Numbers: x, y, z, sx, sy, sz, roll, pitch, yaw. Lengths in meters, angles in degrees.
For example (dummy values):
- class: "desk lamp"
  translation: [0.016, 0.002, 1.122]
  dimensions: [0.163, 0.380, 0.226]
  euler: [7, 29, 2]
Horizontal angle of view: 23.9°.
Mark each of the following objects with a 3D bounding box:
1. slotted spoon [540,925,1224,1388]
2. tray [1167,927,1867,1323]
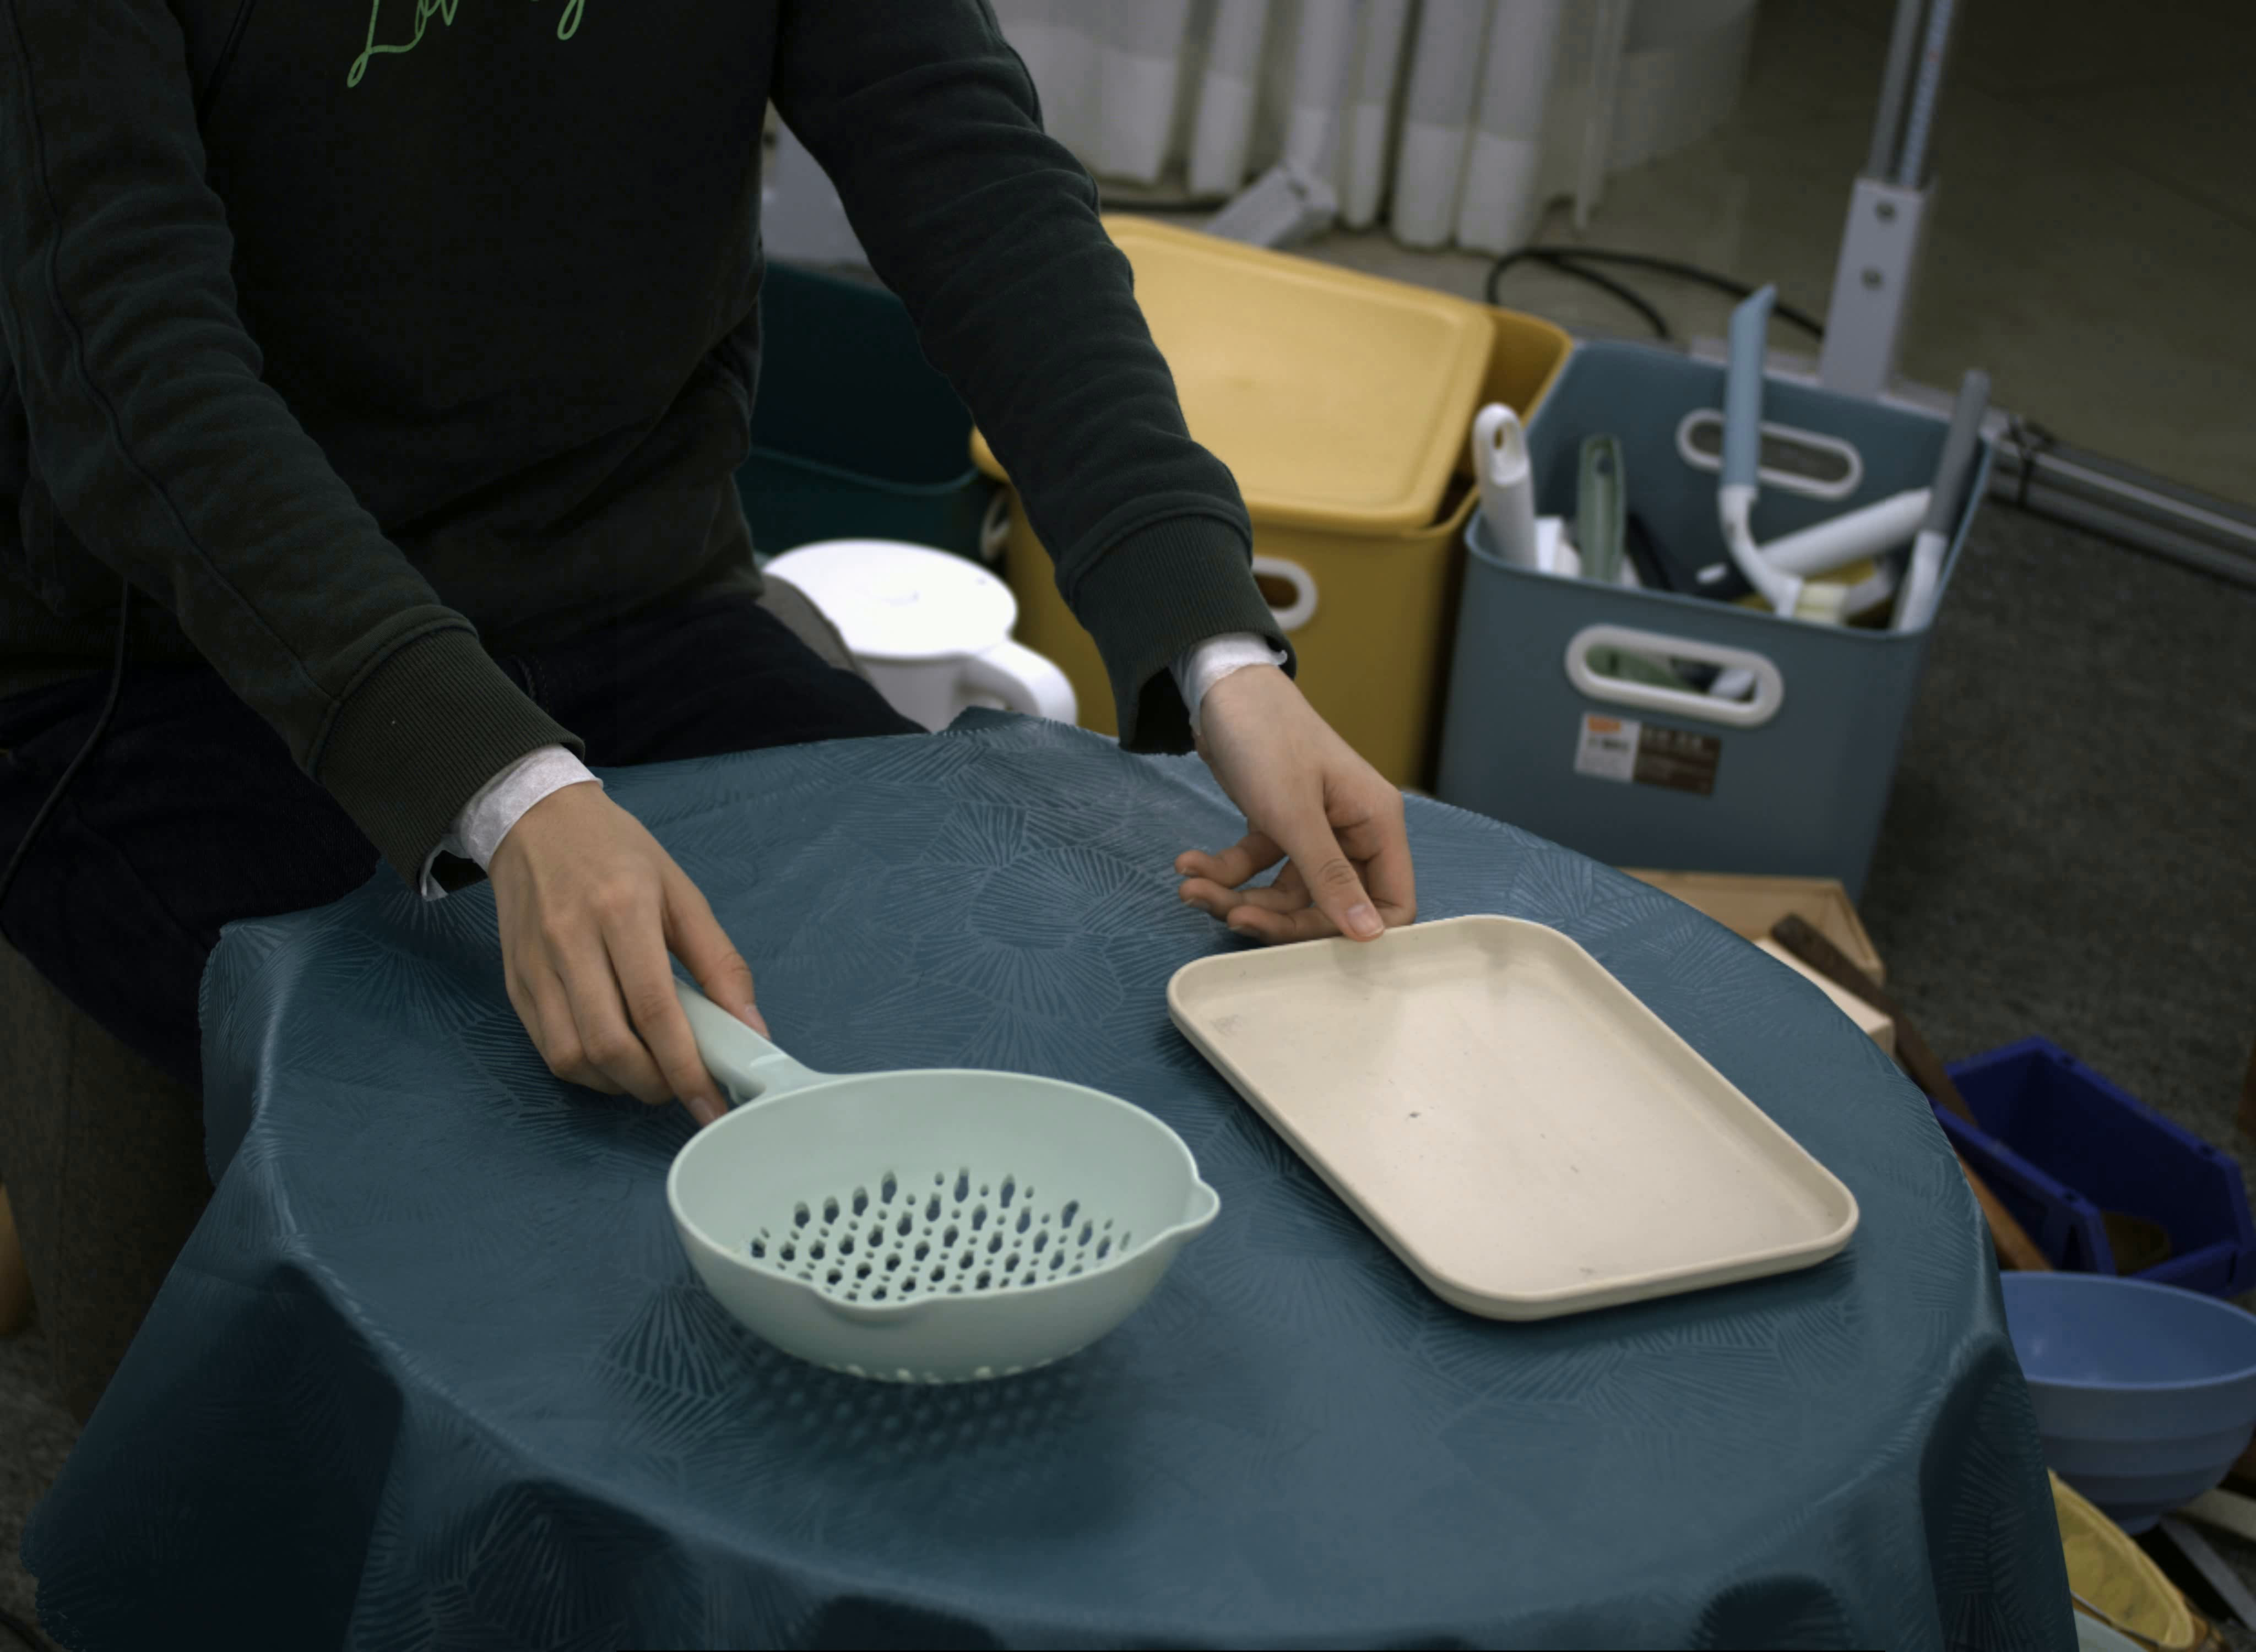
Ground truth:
- class: "slotted spoon"
  translation: [-0.112, 0.093, 1.764]
  dimensions: [0.168, 0.075, 0.362]
  euler: [-12, 32, -29]
- class: "tray"
  translation: [0.132, 0.102, 1.854]
  dimensions: [0.170, 0.017, 0.242]
  euler: [-8, 29, -27]
